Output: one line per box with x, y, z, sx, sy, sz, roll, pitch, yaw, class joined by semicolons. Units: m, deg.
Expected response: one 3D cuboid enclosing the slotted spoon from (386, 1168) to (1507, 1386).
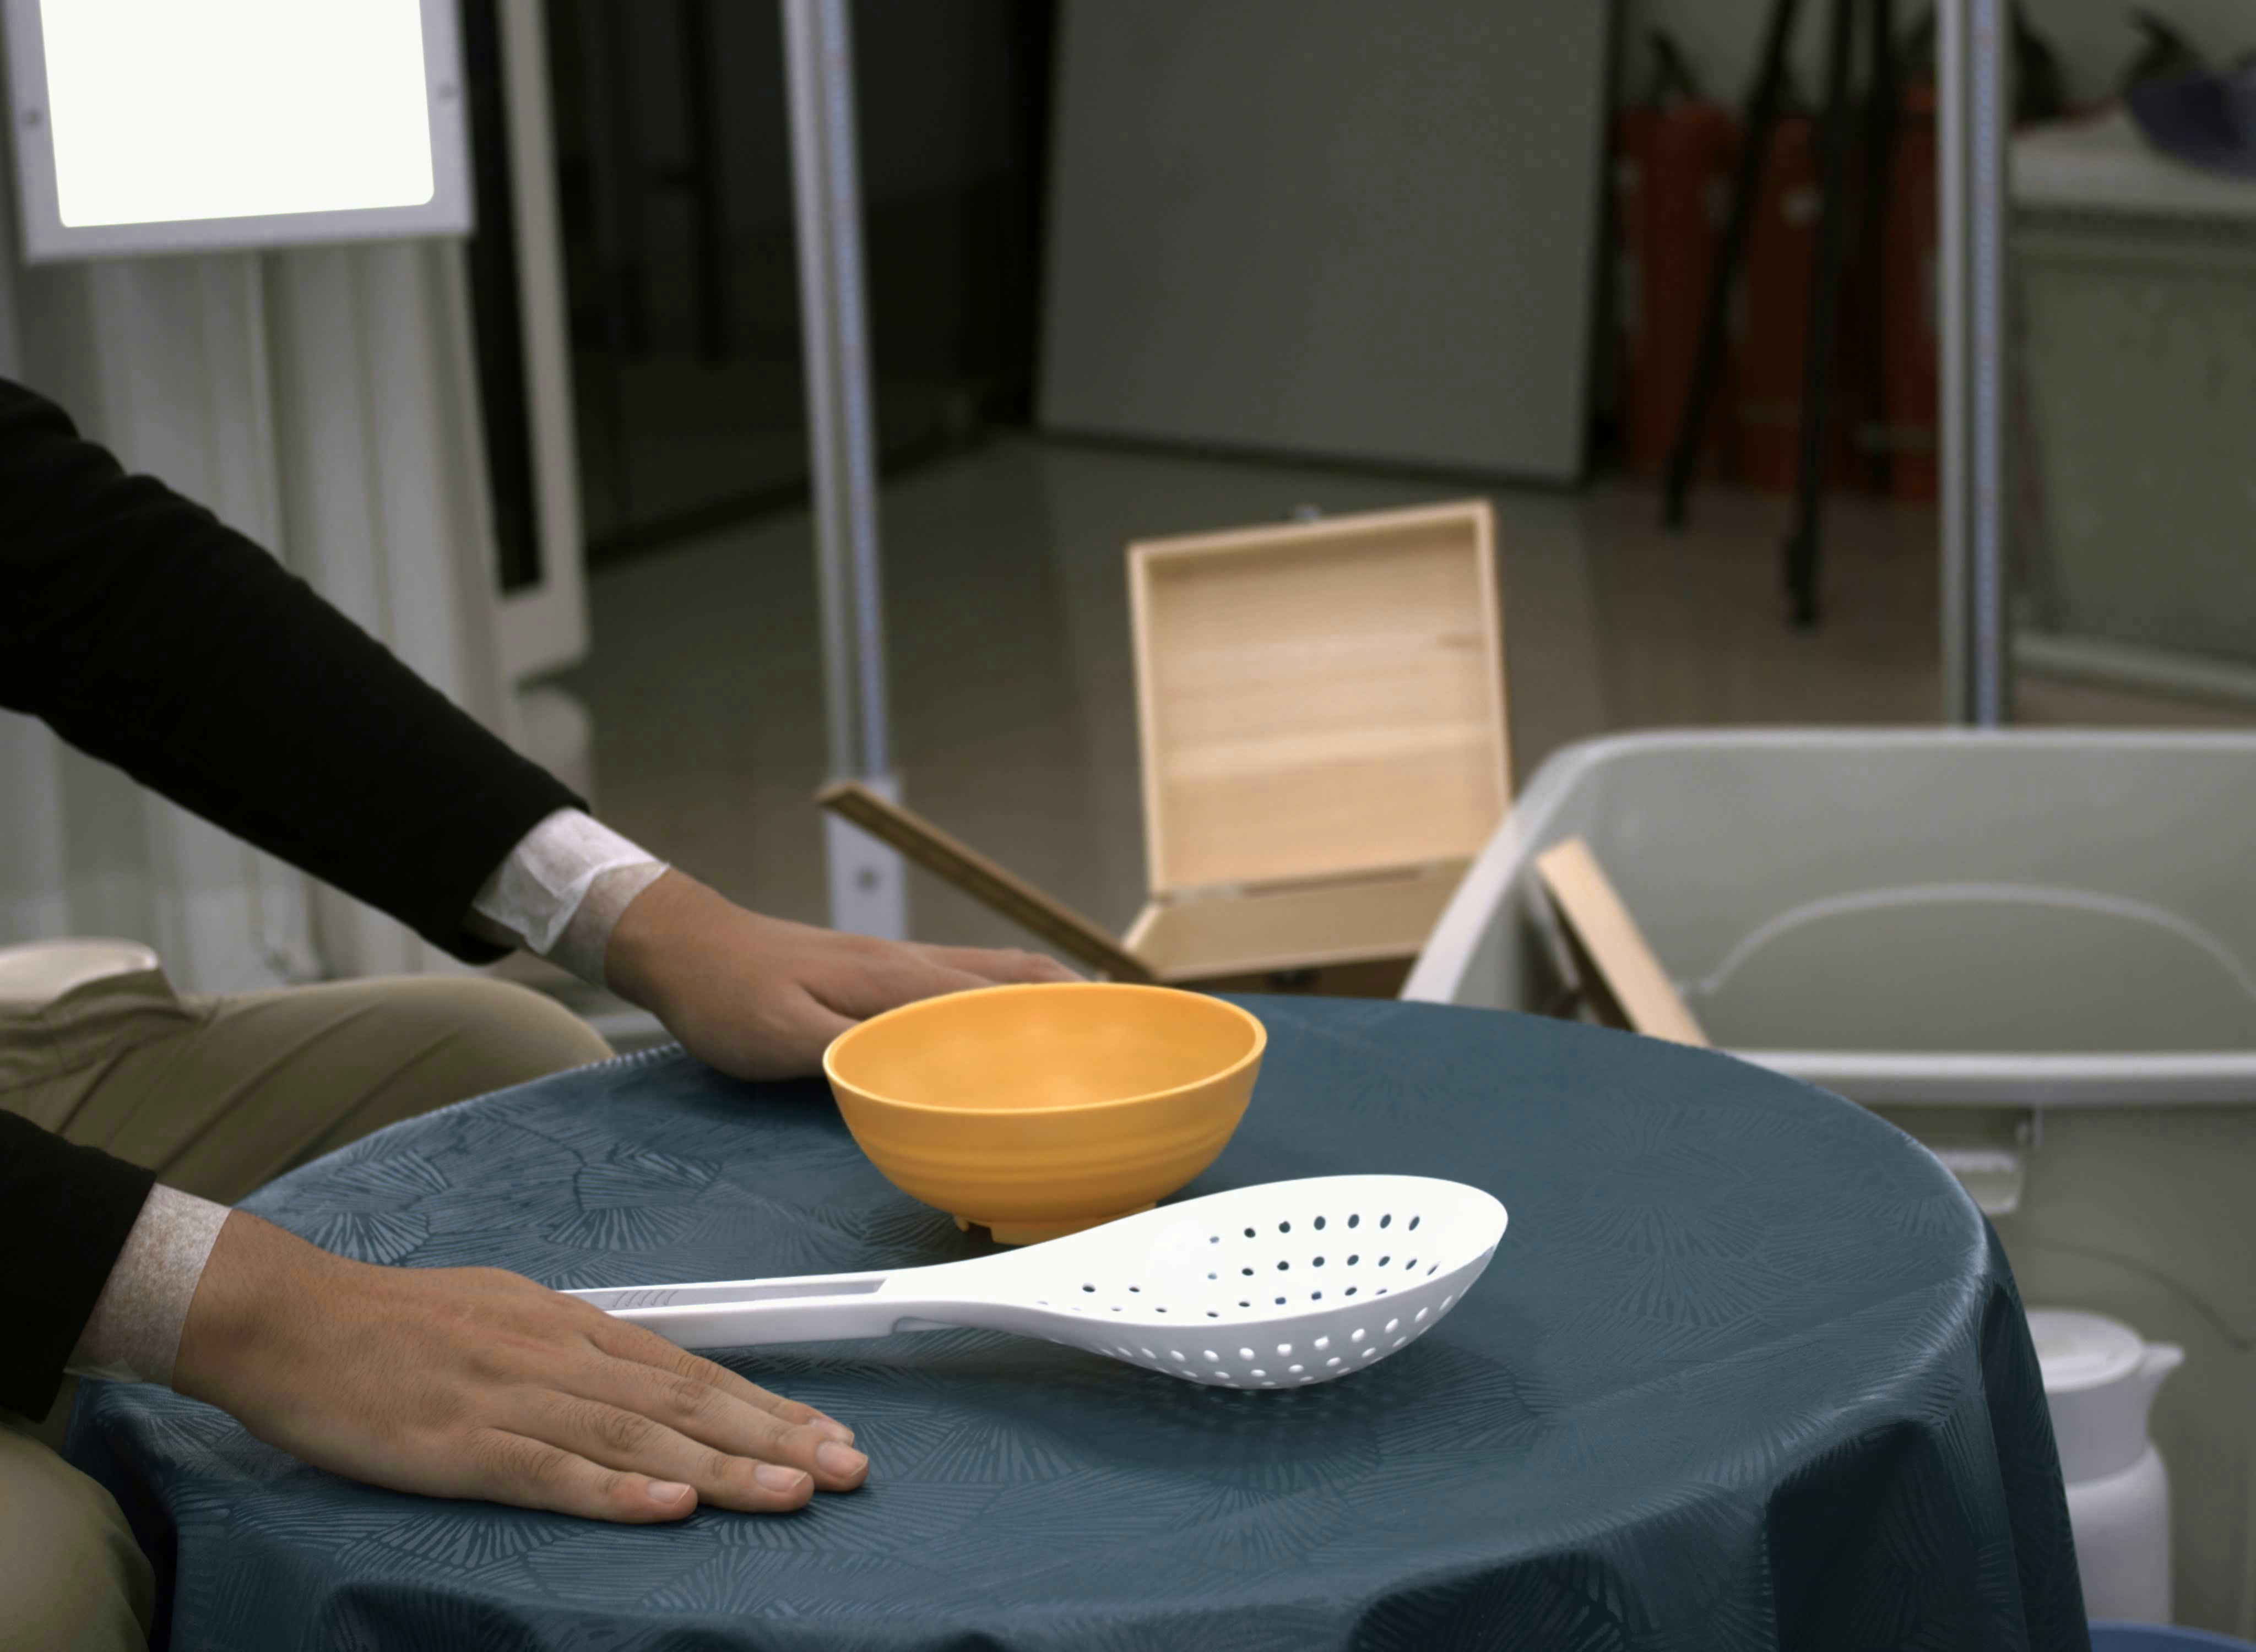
-0.057;0.141;1.610;0.348;0.046;0.135;-2;13;14;slotted spoon

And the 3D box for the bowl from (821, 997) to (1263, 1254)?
-0.027;0.101;1.744;0.143;0.061;0.145;-3;12;0;bowl
